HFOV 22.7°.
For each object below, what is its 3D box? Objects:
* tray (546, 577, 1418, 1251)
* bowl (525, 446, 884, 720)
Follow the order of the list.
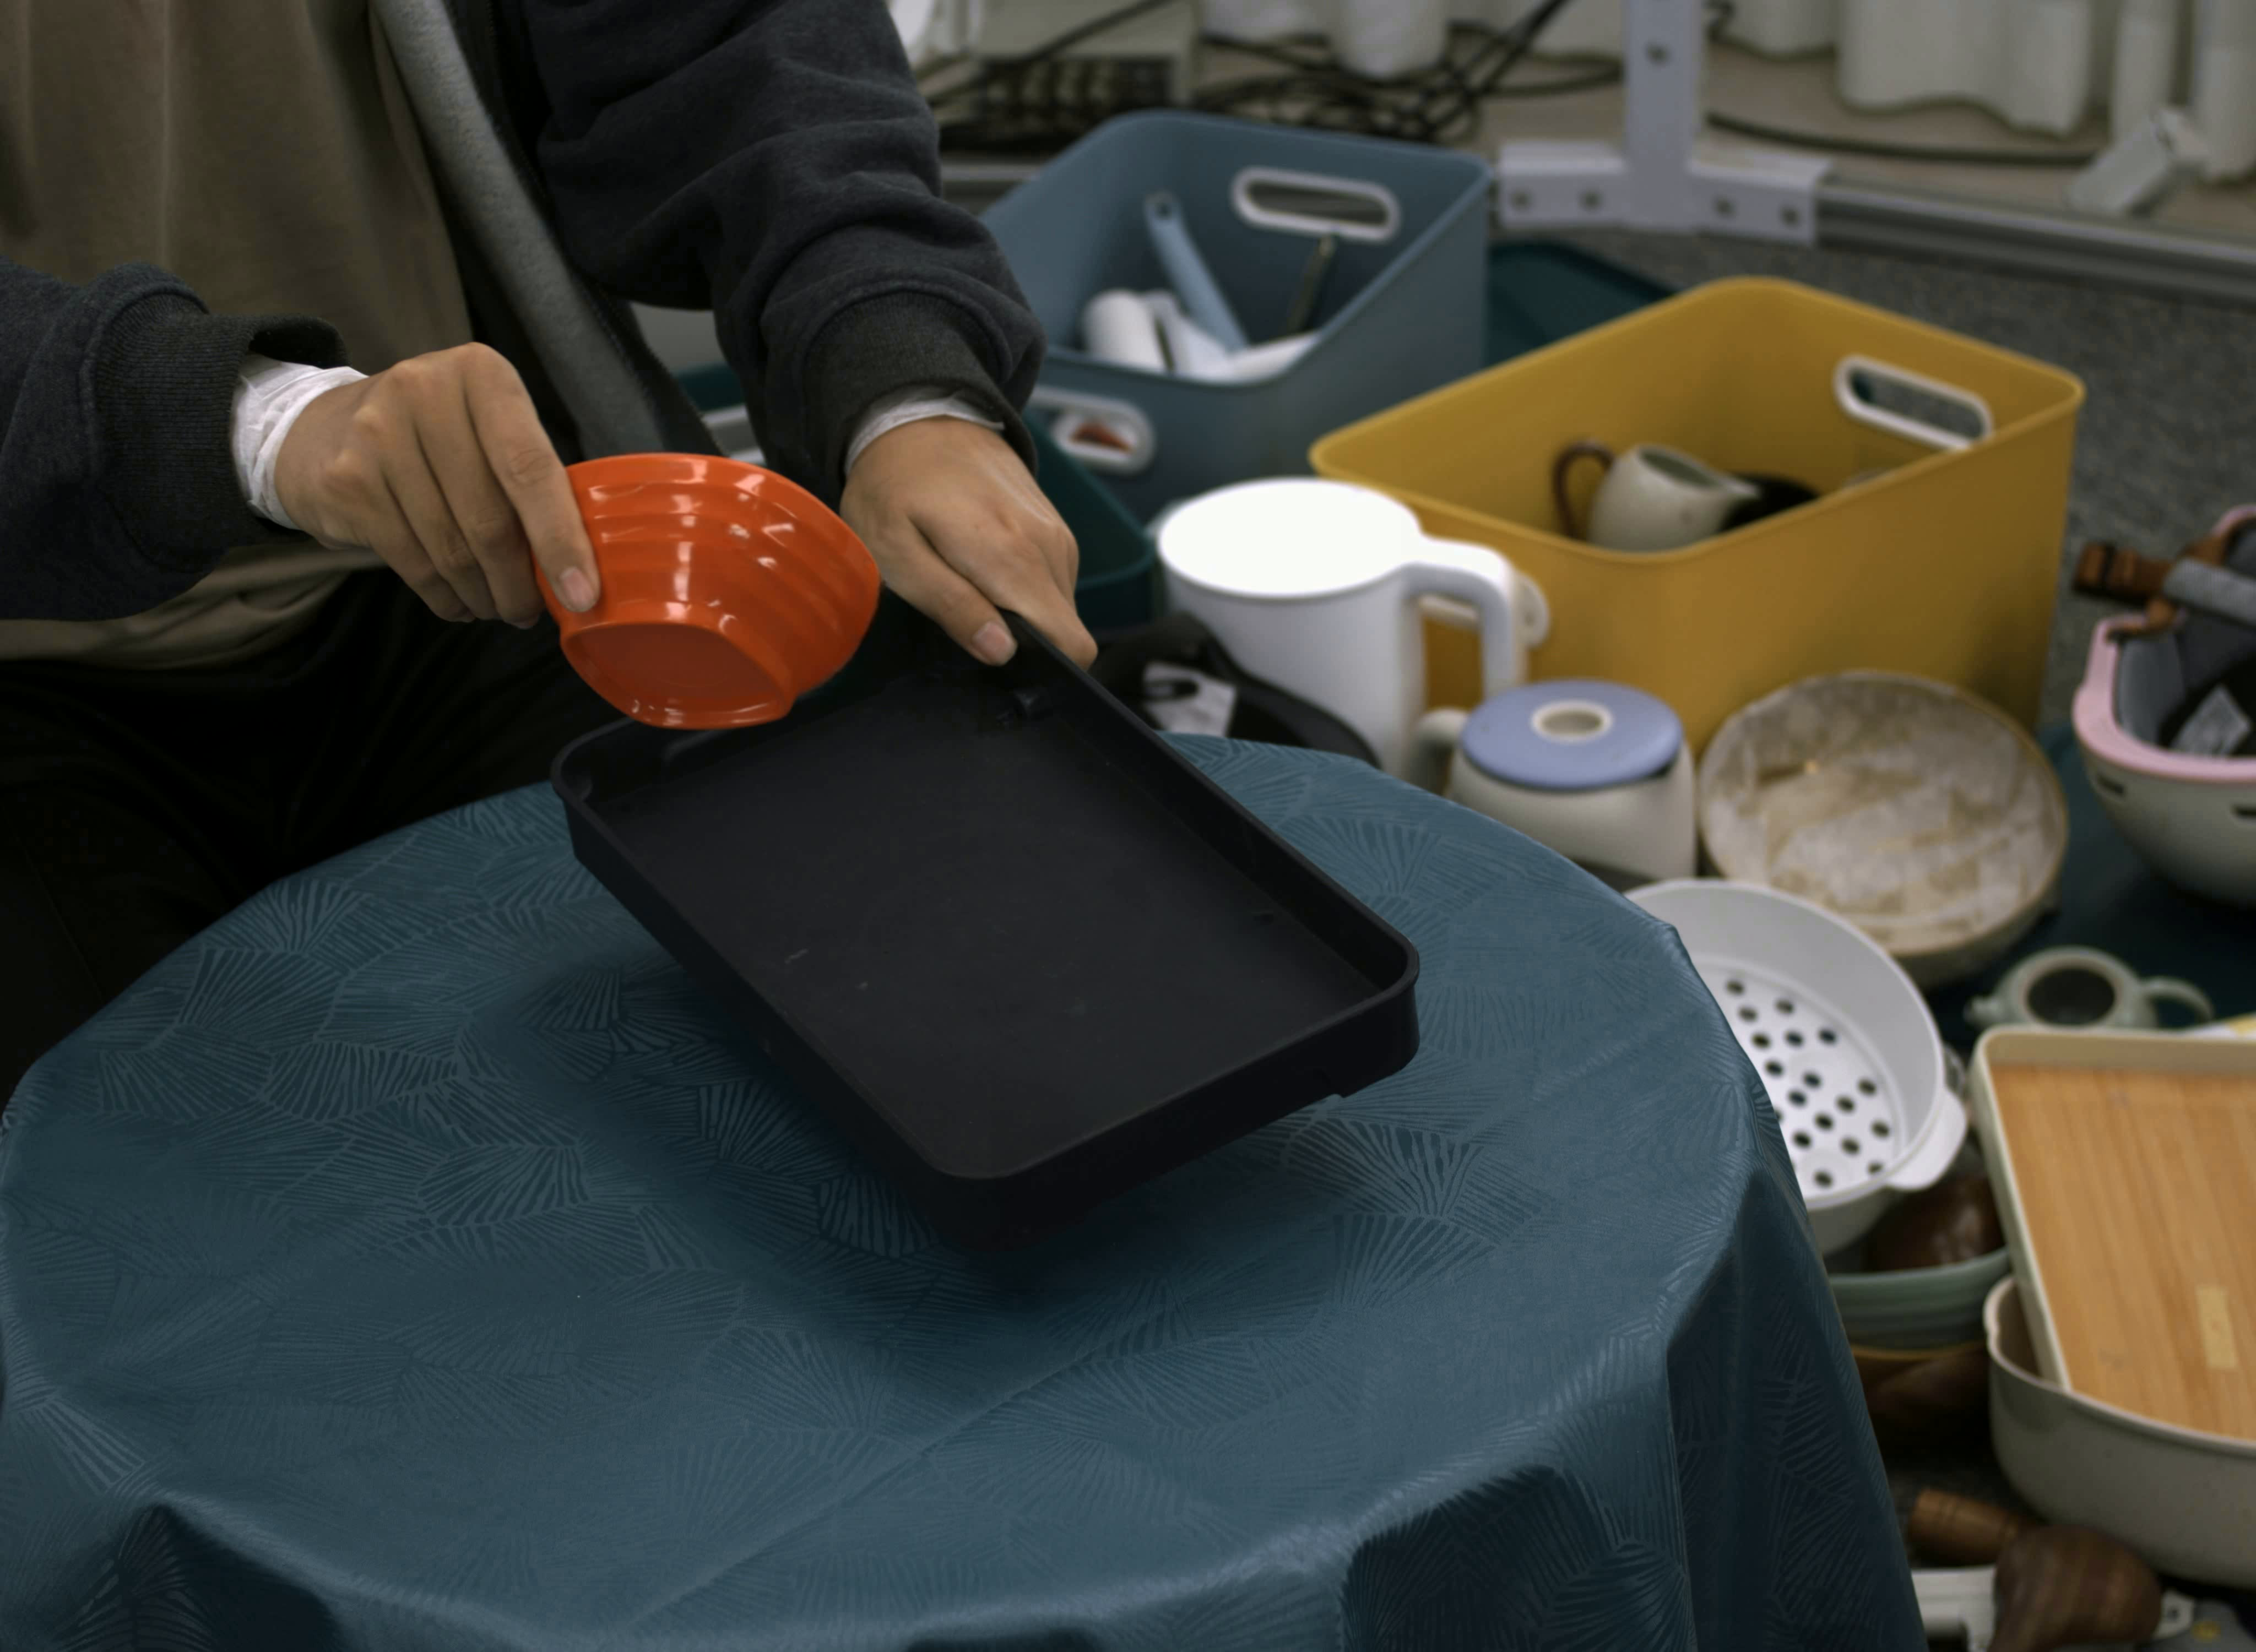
[{"bbox_3d":[-0.054,0.023,1.916,0.185,0.036,0.320,-24,37,-22],"label":"tray"},{"bbox_3d":[-0.140,-0.072,1.798,0.118,0.117,0.052,5,64,14],"label":"bowl"}]
